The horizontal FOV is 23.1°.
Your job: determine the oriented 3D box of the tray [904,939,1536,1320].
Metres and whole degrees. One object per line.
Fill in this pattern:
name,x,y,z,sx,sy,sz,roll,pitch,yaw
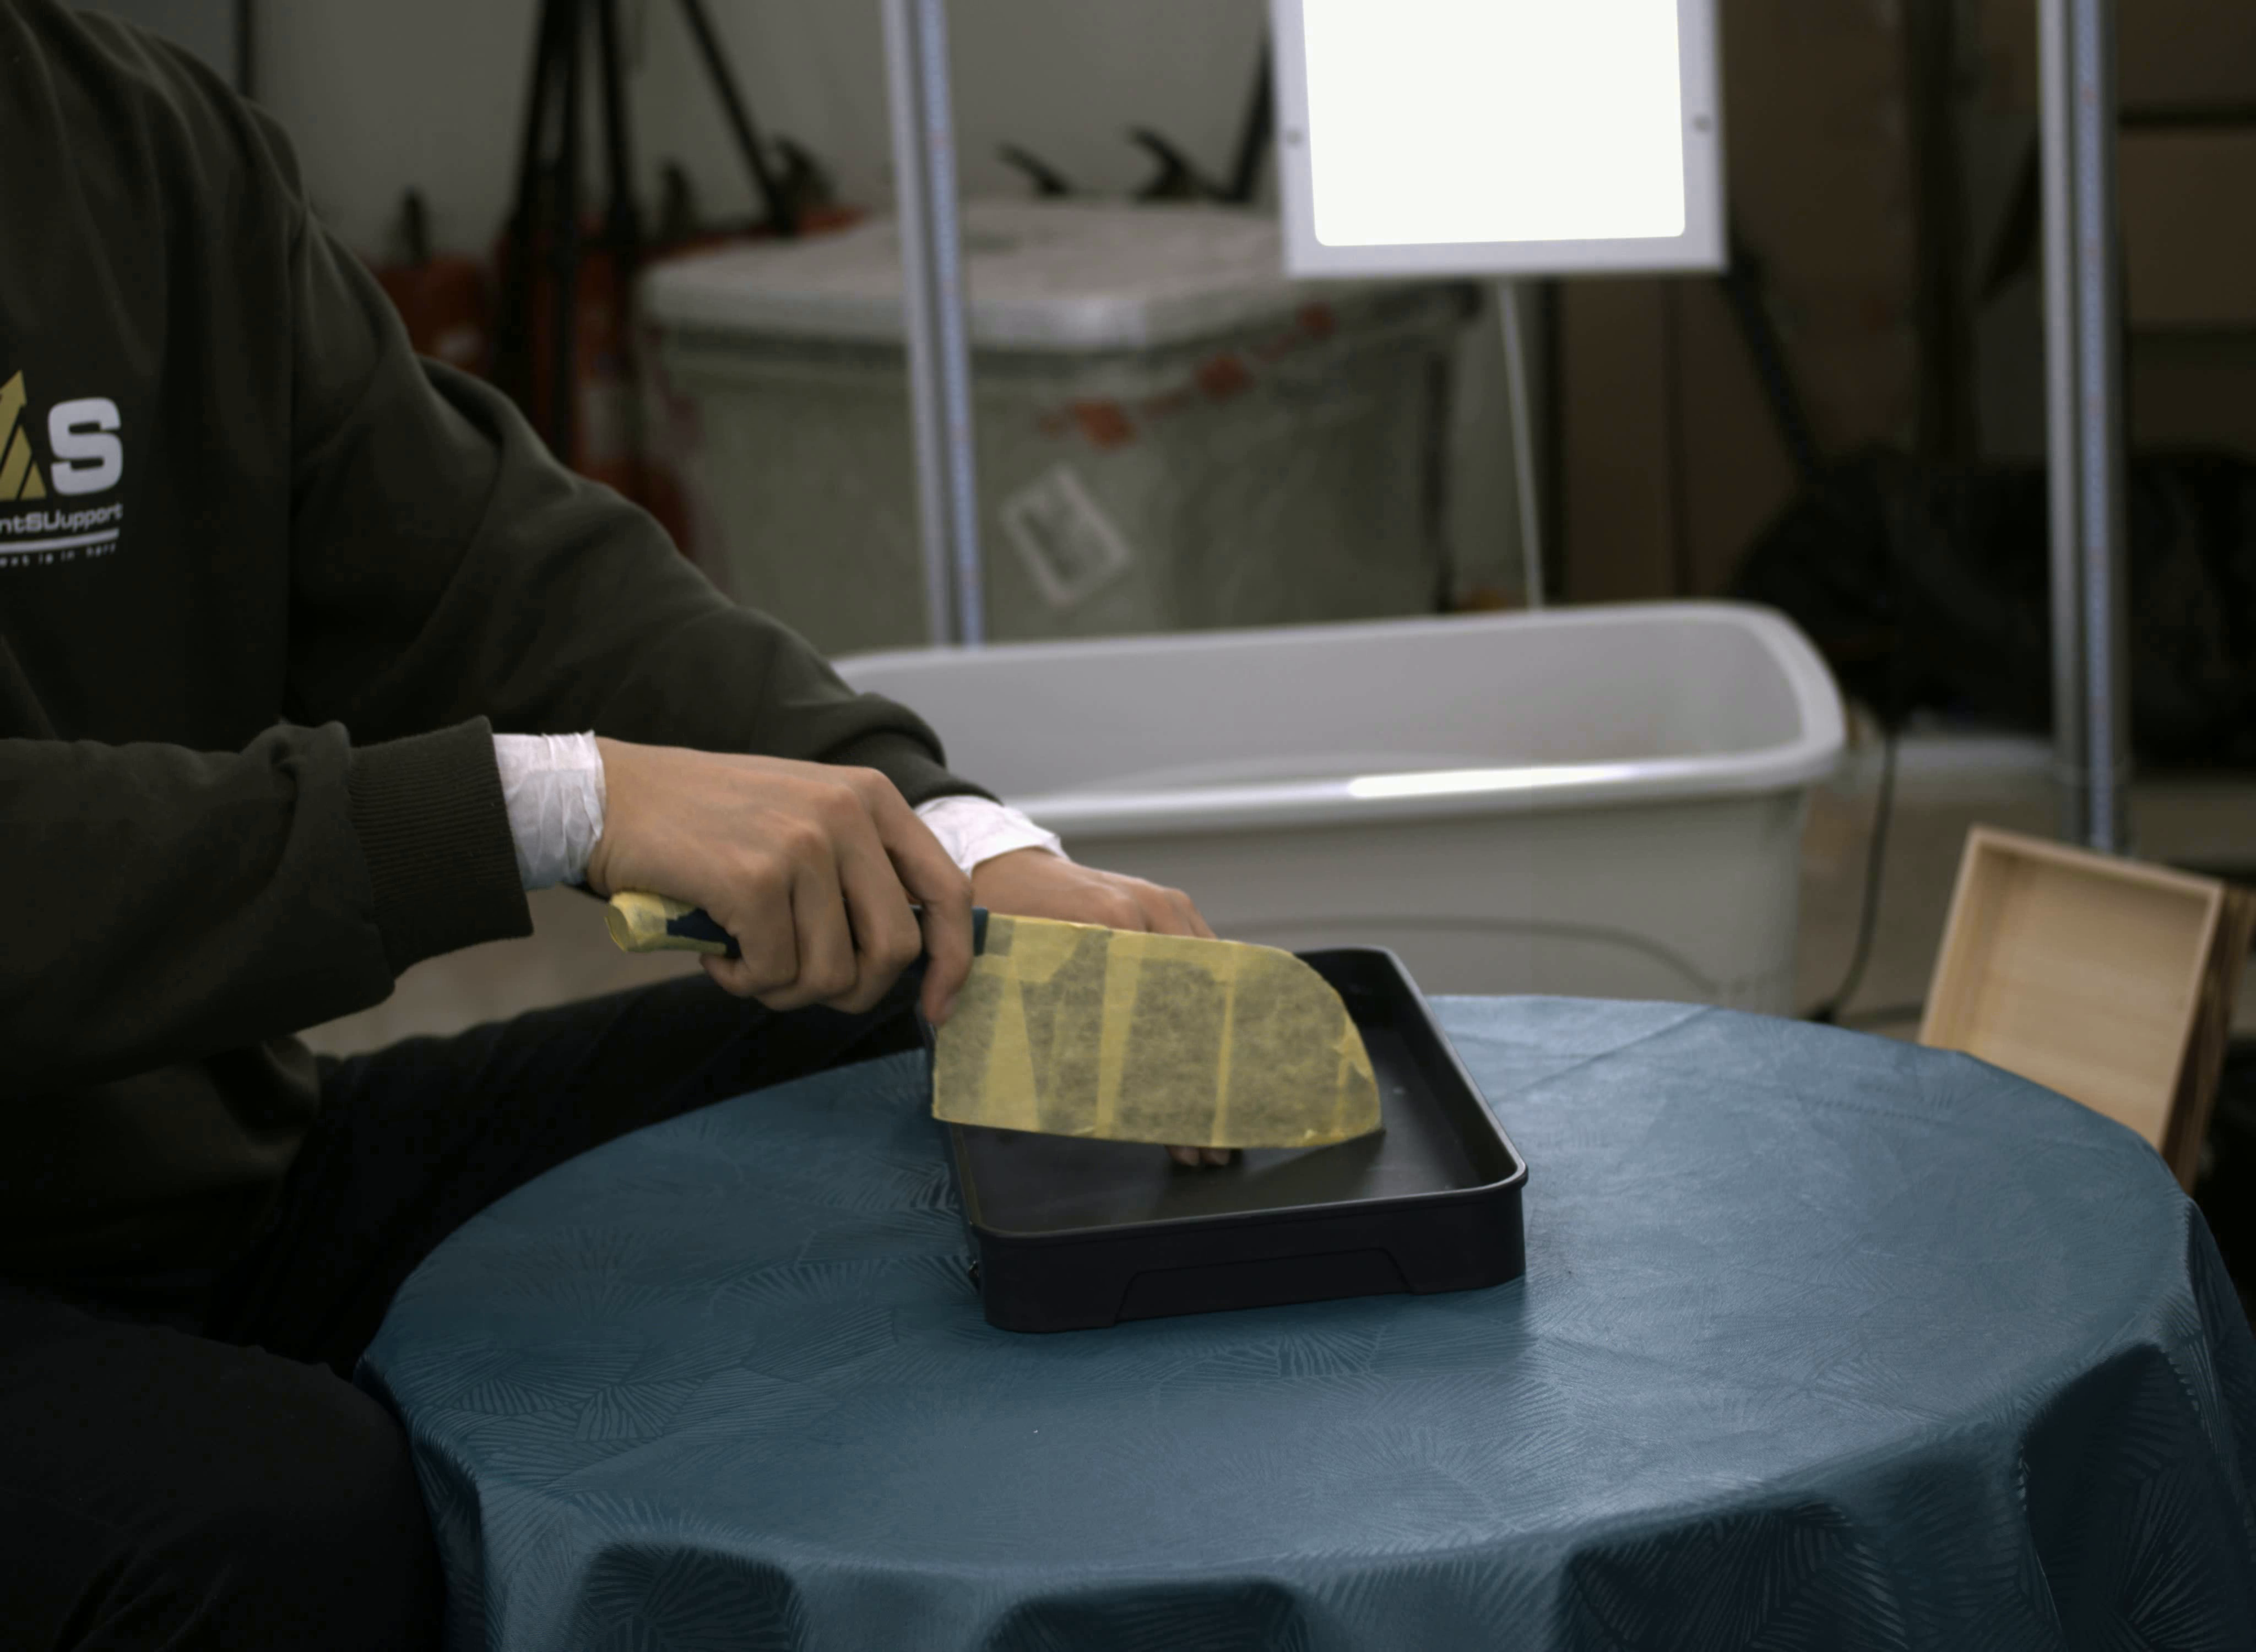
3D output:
tray,0.026,0.101,1.917,0.183,0.037,0.319,-6,13,-5

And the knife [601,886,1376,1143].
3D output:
knife,-0.044,0.064,1.880,0.284,0.081,0.027,10,-8,-19
